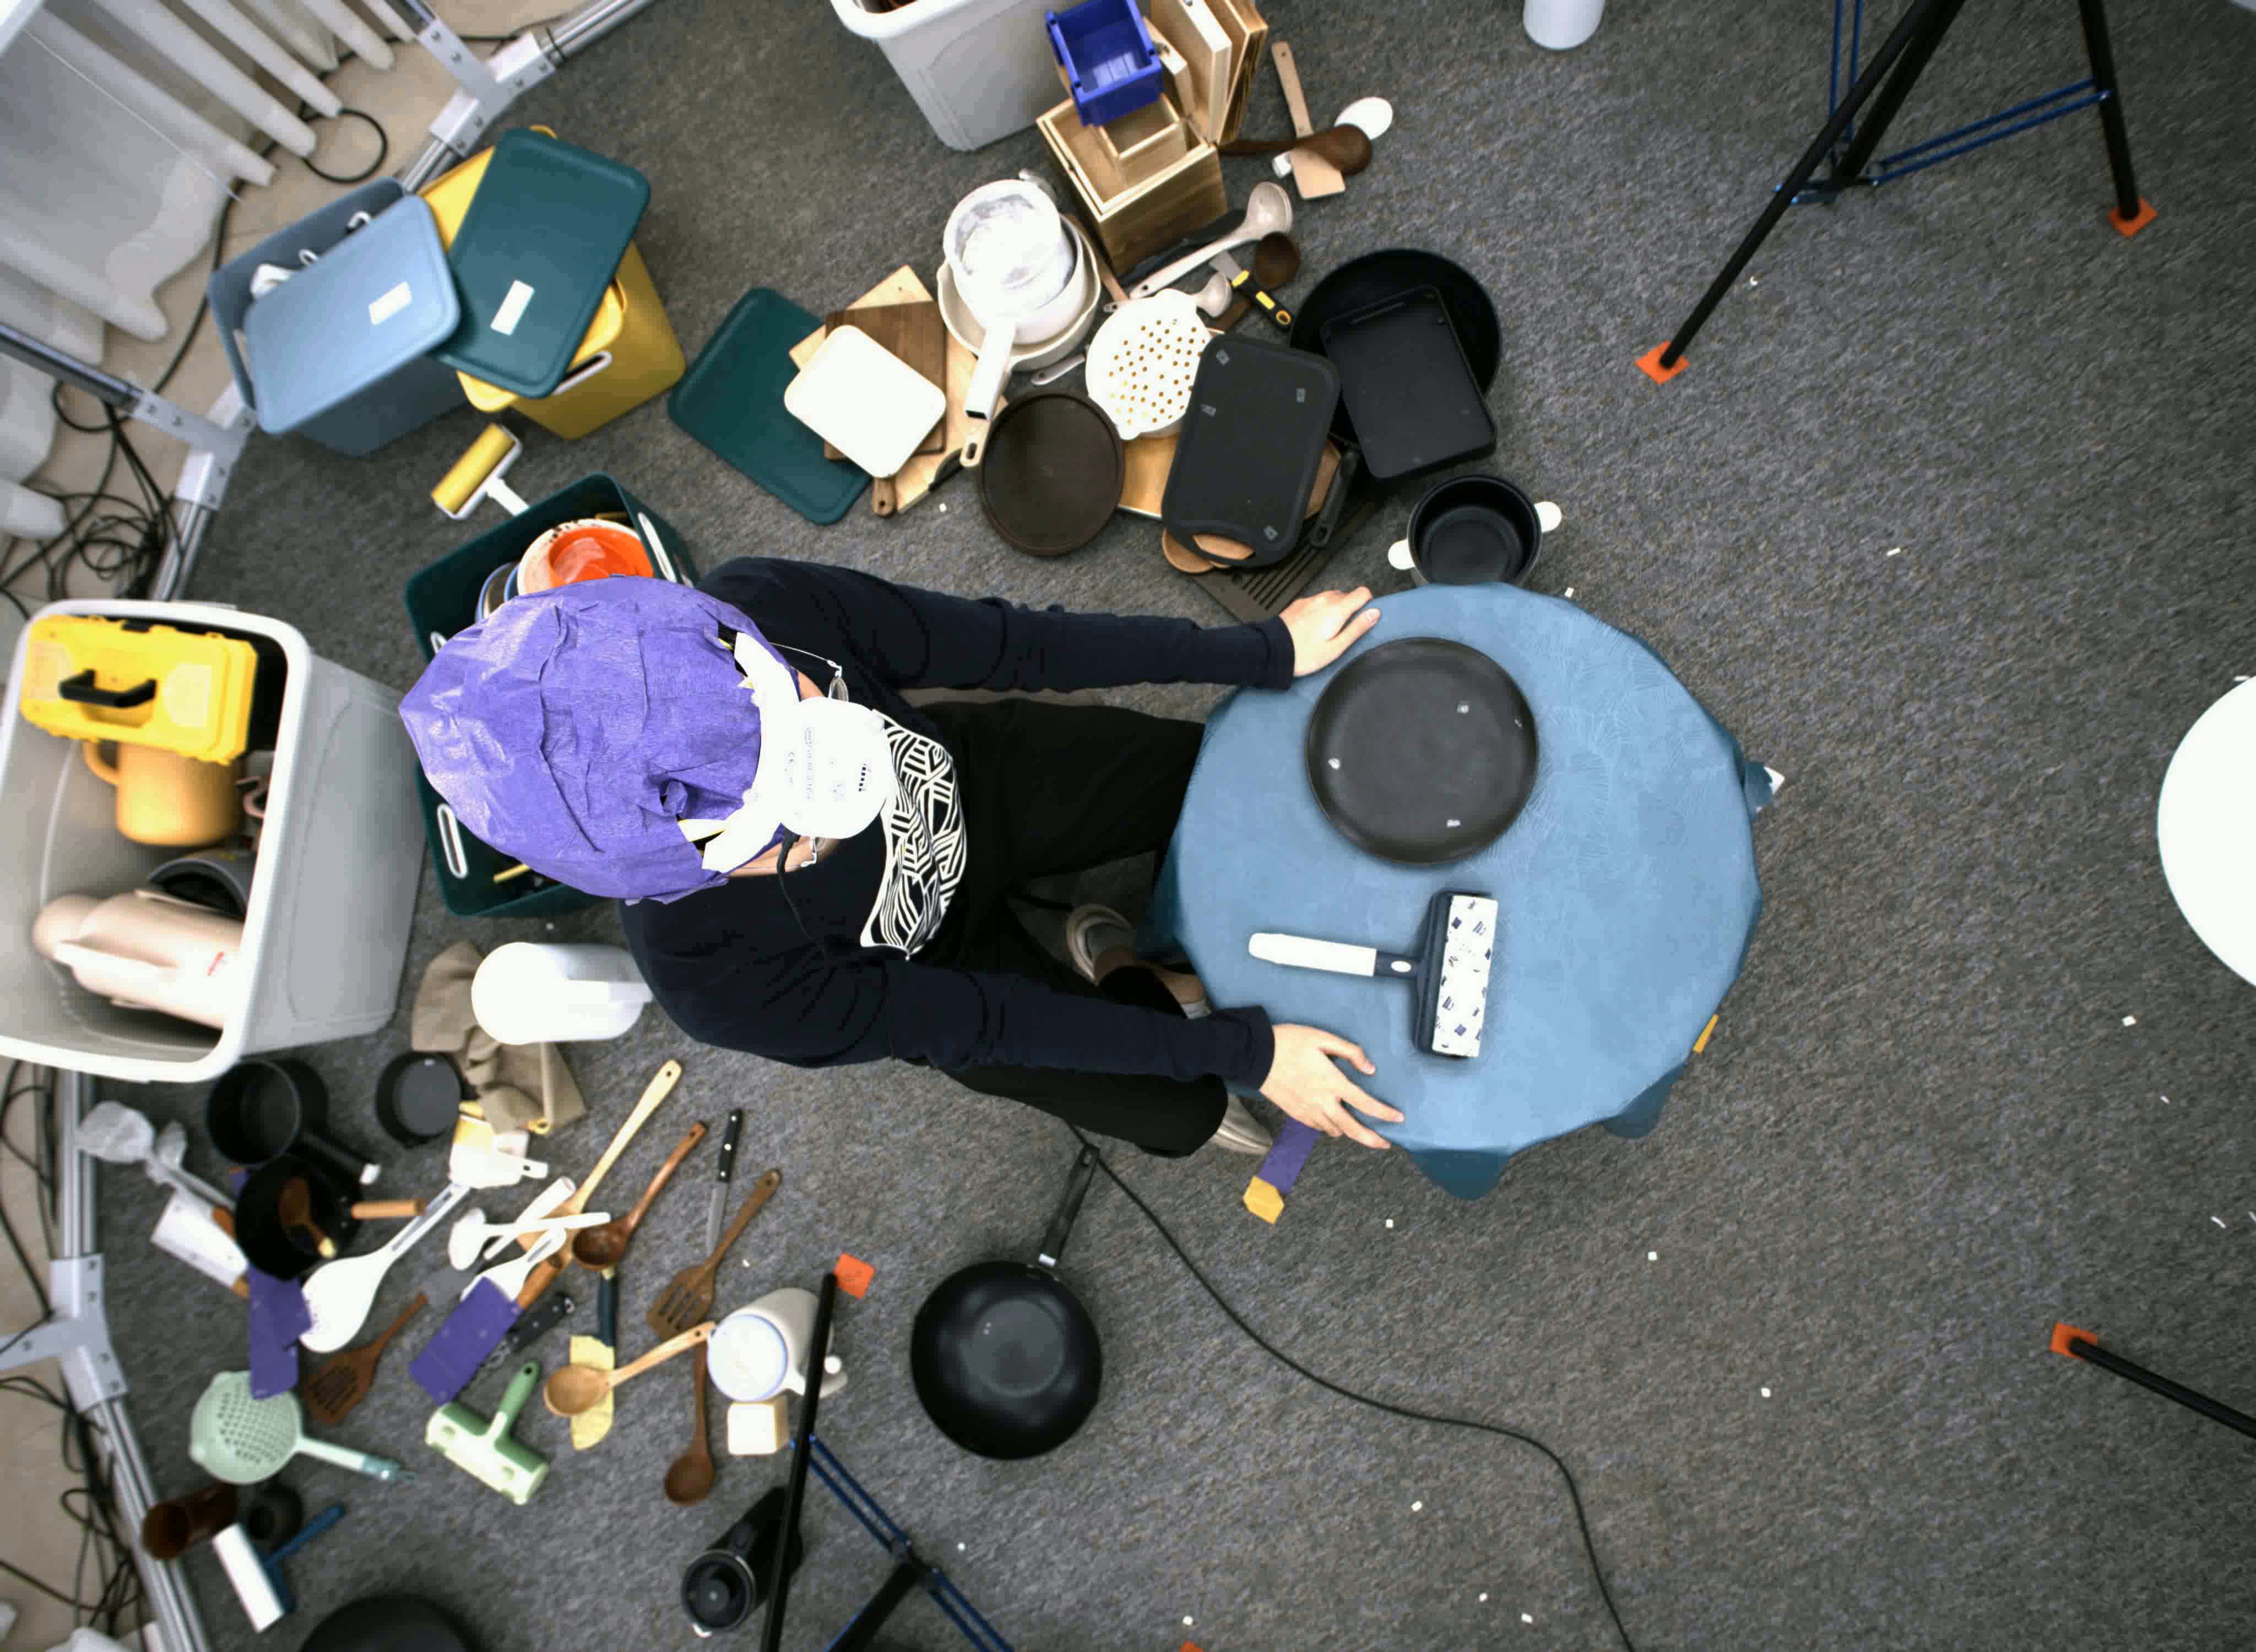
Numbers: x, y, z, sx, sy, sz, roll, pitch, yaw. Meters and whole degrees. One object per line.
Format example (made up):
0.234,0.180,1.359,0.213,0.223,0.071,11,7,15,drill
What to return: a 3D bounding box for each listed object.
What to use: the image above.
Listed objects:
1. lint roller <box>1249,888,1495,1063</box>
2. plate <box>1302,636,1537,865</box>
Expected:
0.247,0.141,1.440,0.248,0.050,0.176,7,89,13,lint roller
0.306,-0.081,1.451,0.245,0.023,0.243,-1,87,11,plate
